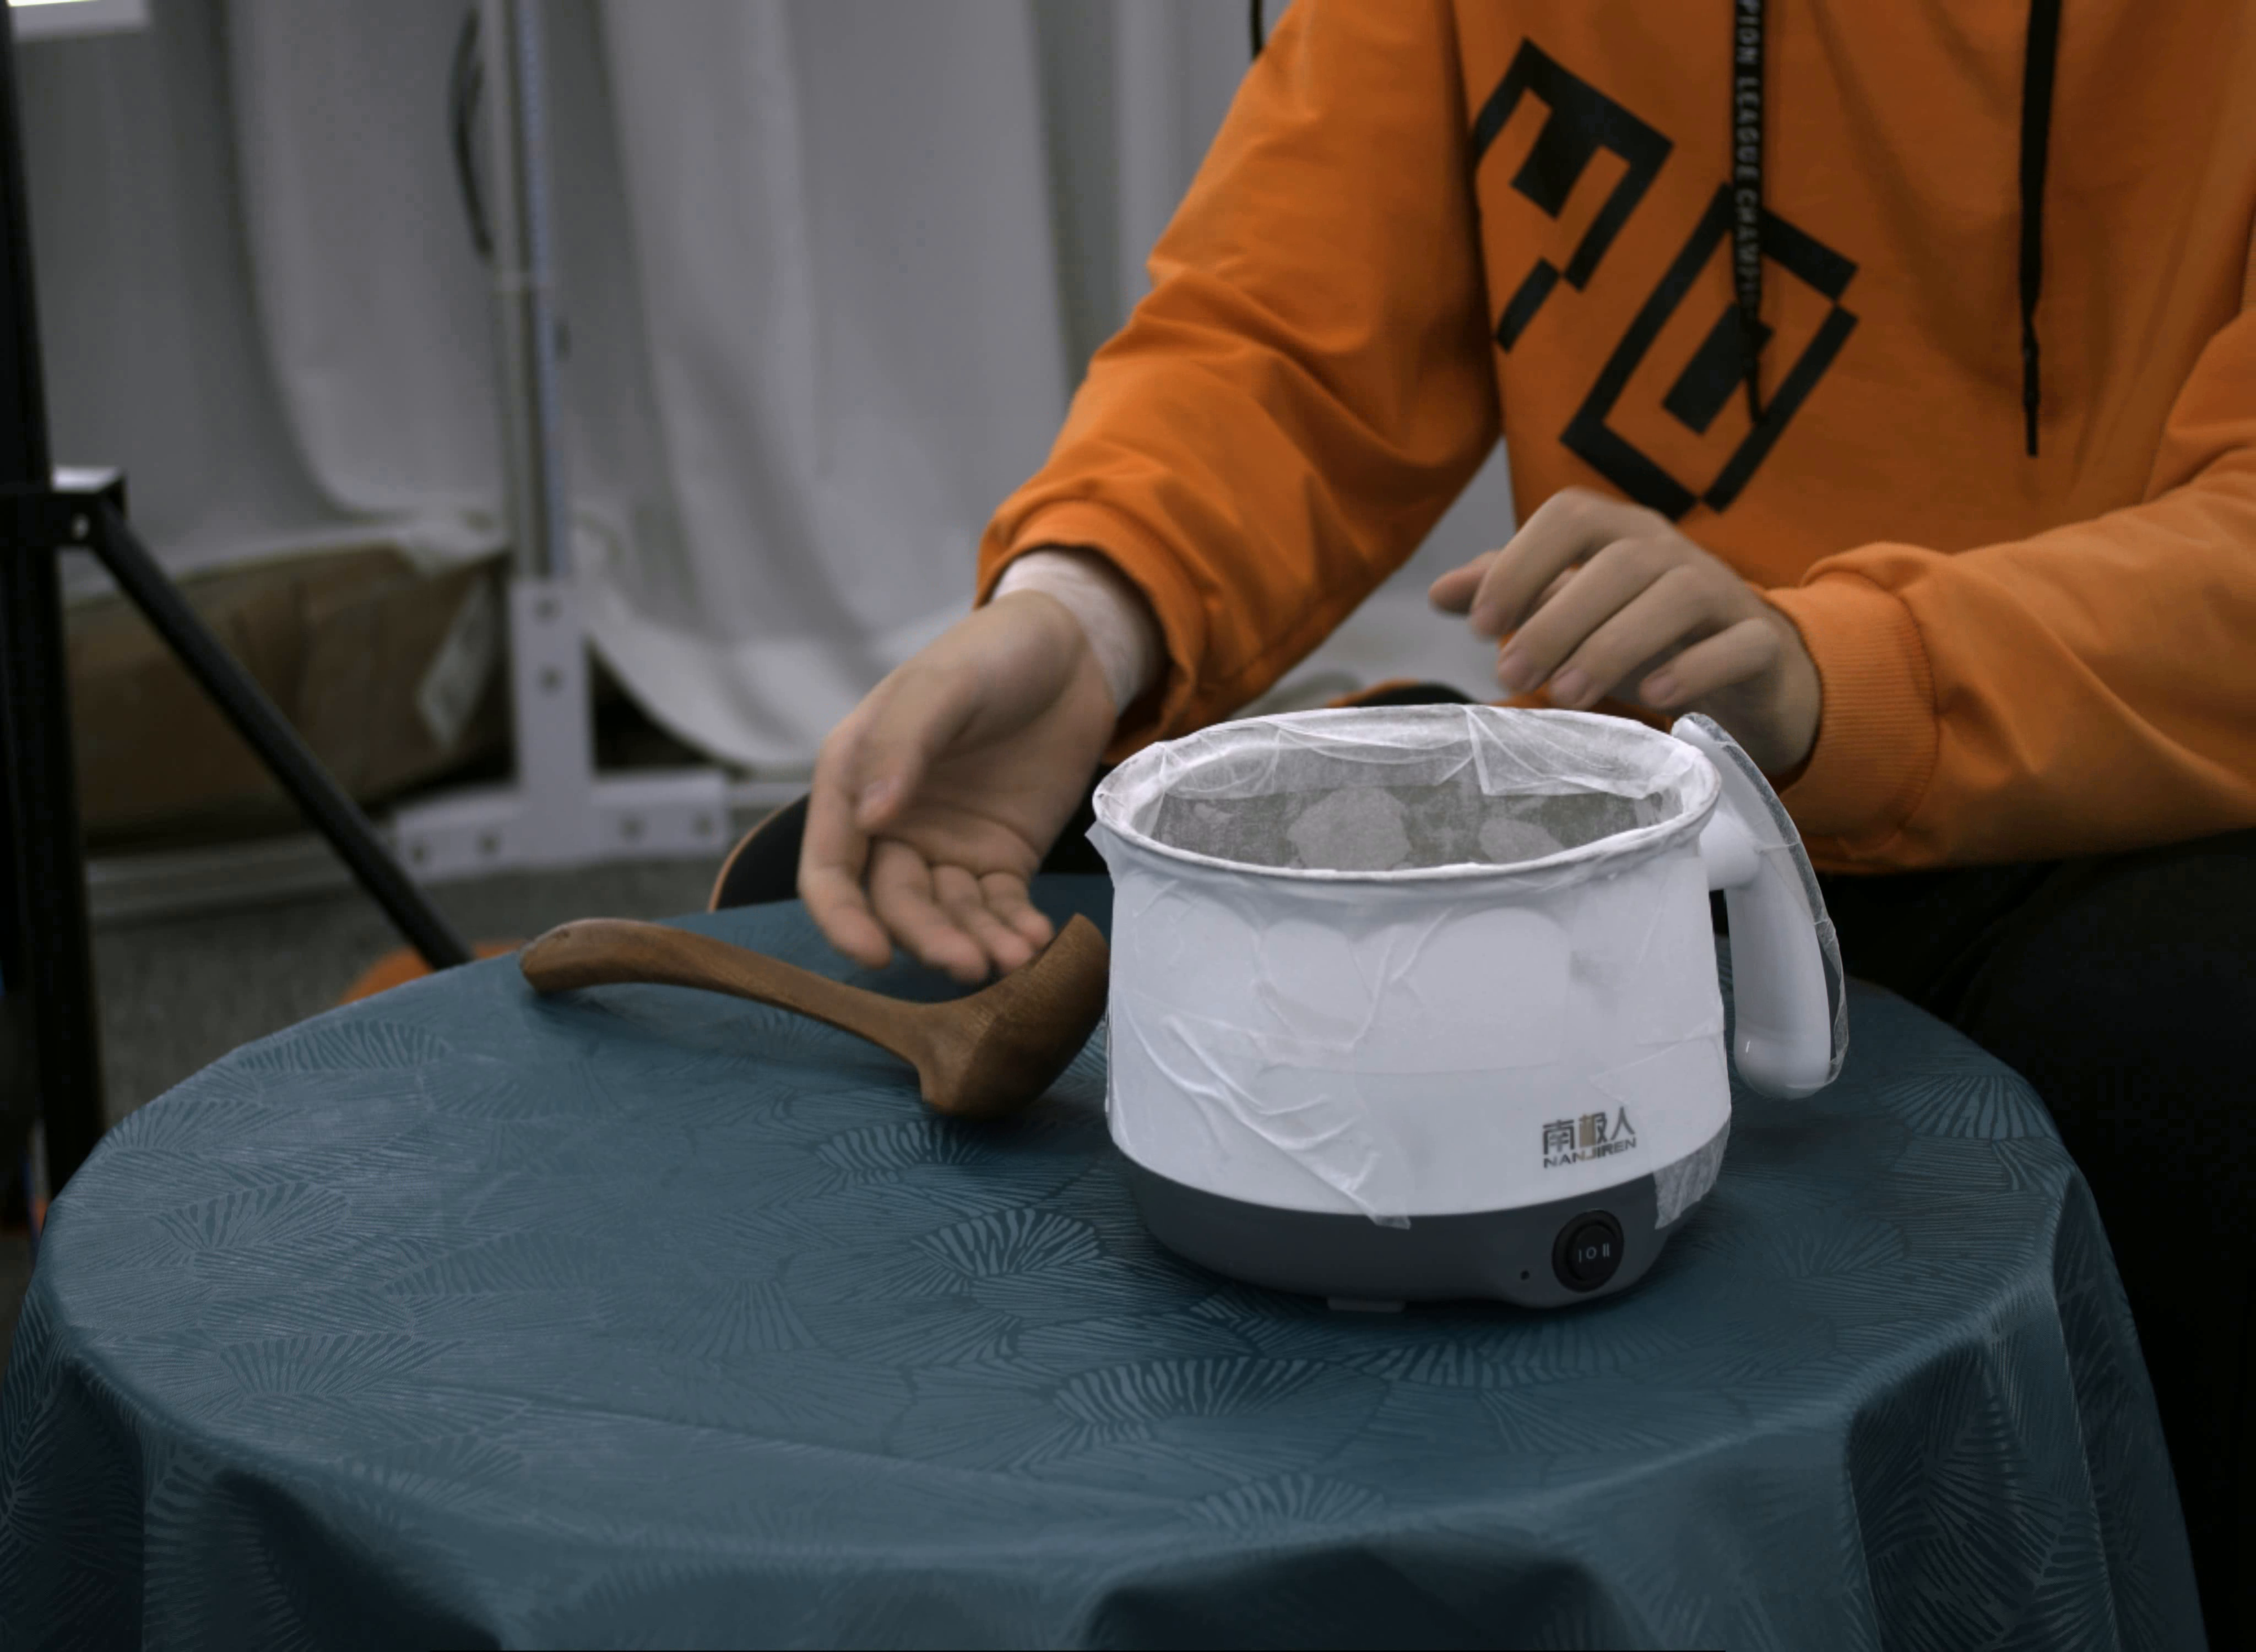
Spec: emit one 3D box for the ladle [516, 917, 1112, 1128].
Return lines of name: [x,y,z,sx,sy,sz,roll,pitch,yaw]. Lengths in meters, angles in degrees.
ladle: [-0.109,0.046,1.686,0.266,0.064,0.076,12,46,40]

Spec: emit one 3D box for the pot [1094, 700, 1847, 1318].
pot: [0.104,0.045,1.511,0.228,0.136,0.182,-11,18,-28]
